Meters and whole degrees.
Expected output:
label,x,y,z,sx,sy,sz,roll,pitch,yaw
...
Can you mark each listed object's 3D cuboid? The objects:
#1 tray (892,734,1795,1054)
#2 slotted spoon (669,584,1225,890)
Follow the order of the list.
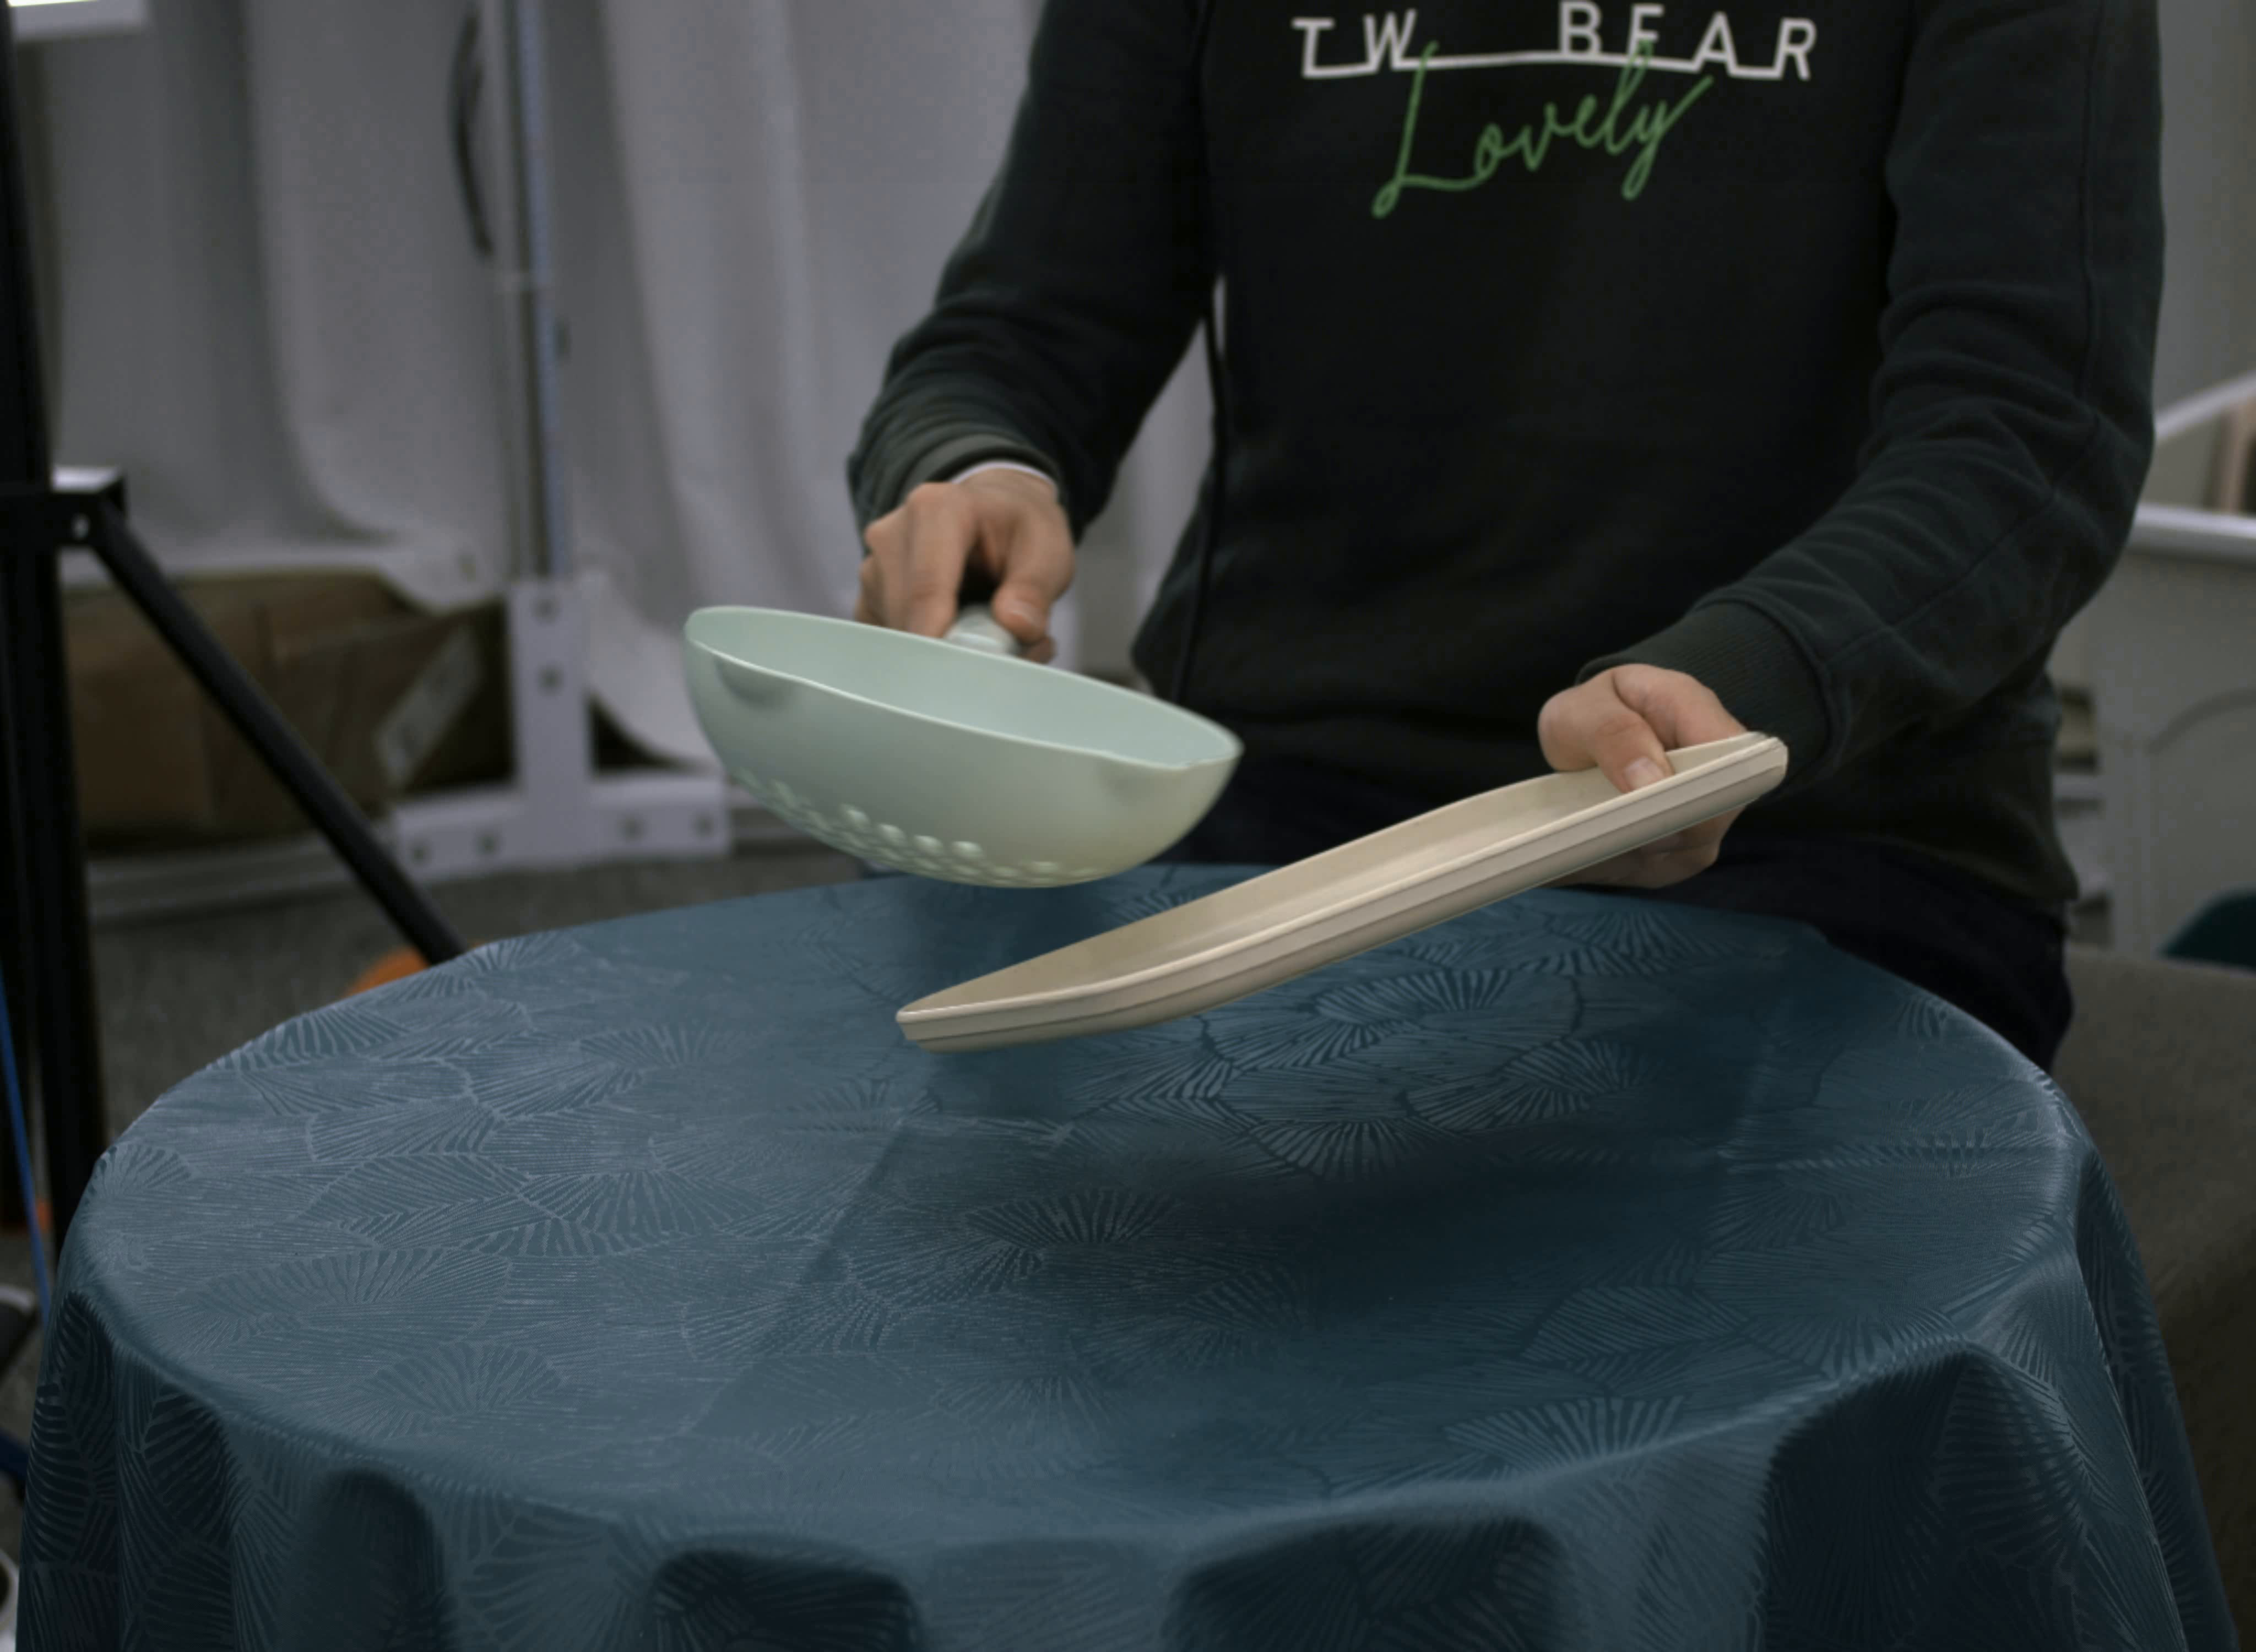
label,x,y,z,sx,sy,sz,roll,pitch,yaw
tray,0.062,0.021,1.505,0.235,0.017,0.174,-19,3,-28
slotted spoon,-0.053,-0.046,1.666,0.169,0.075,0.359,16,17,0
